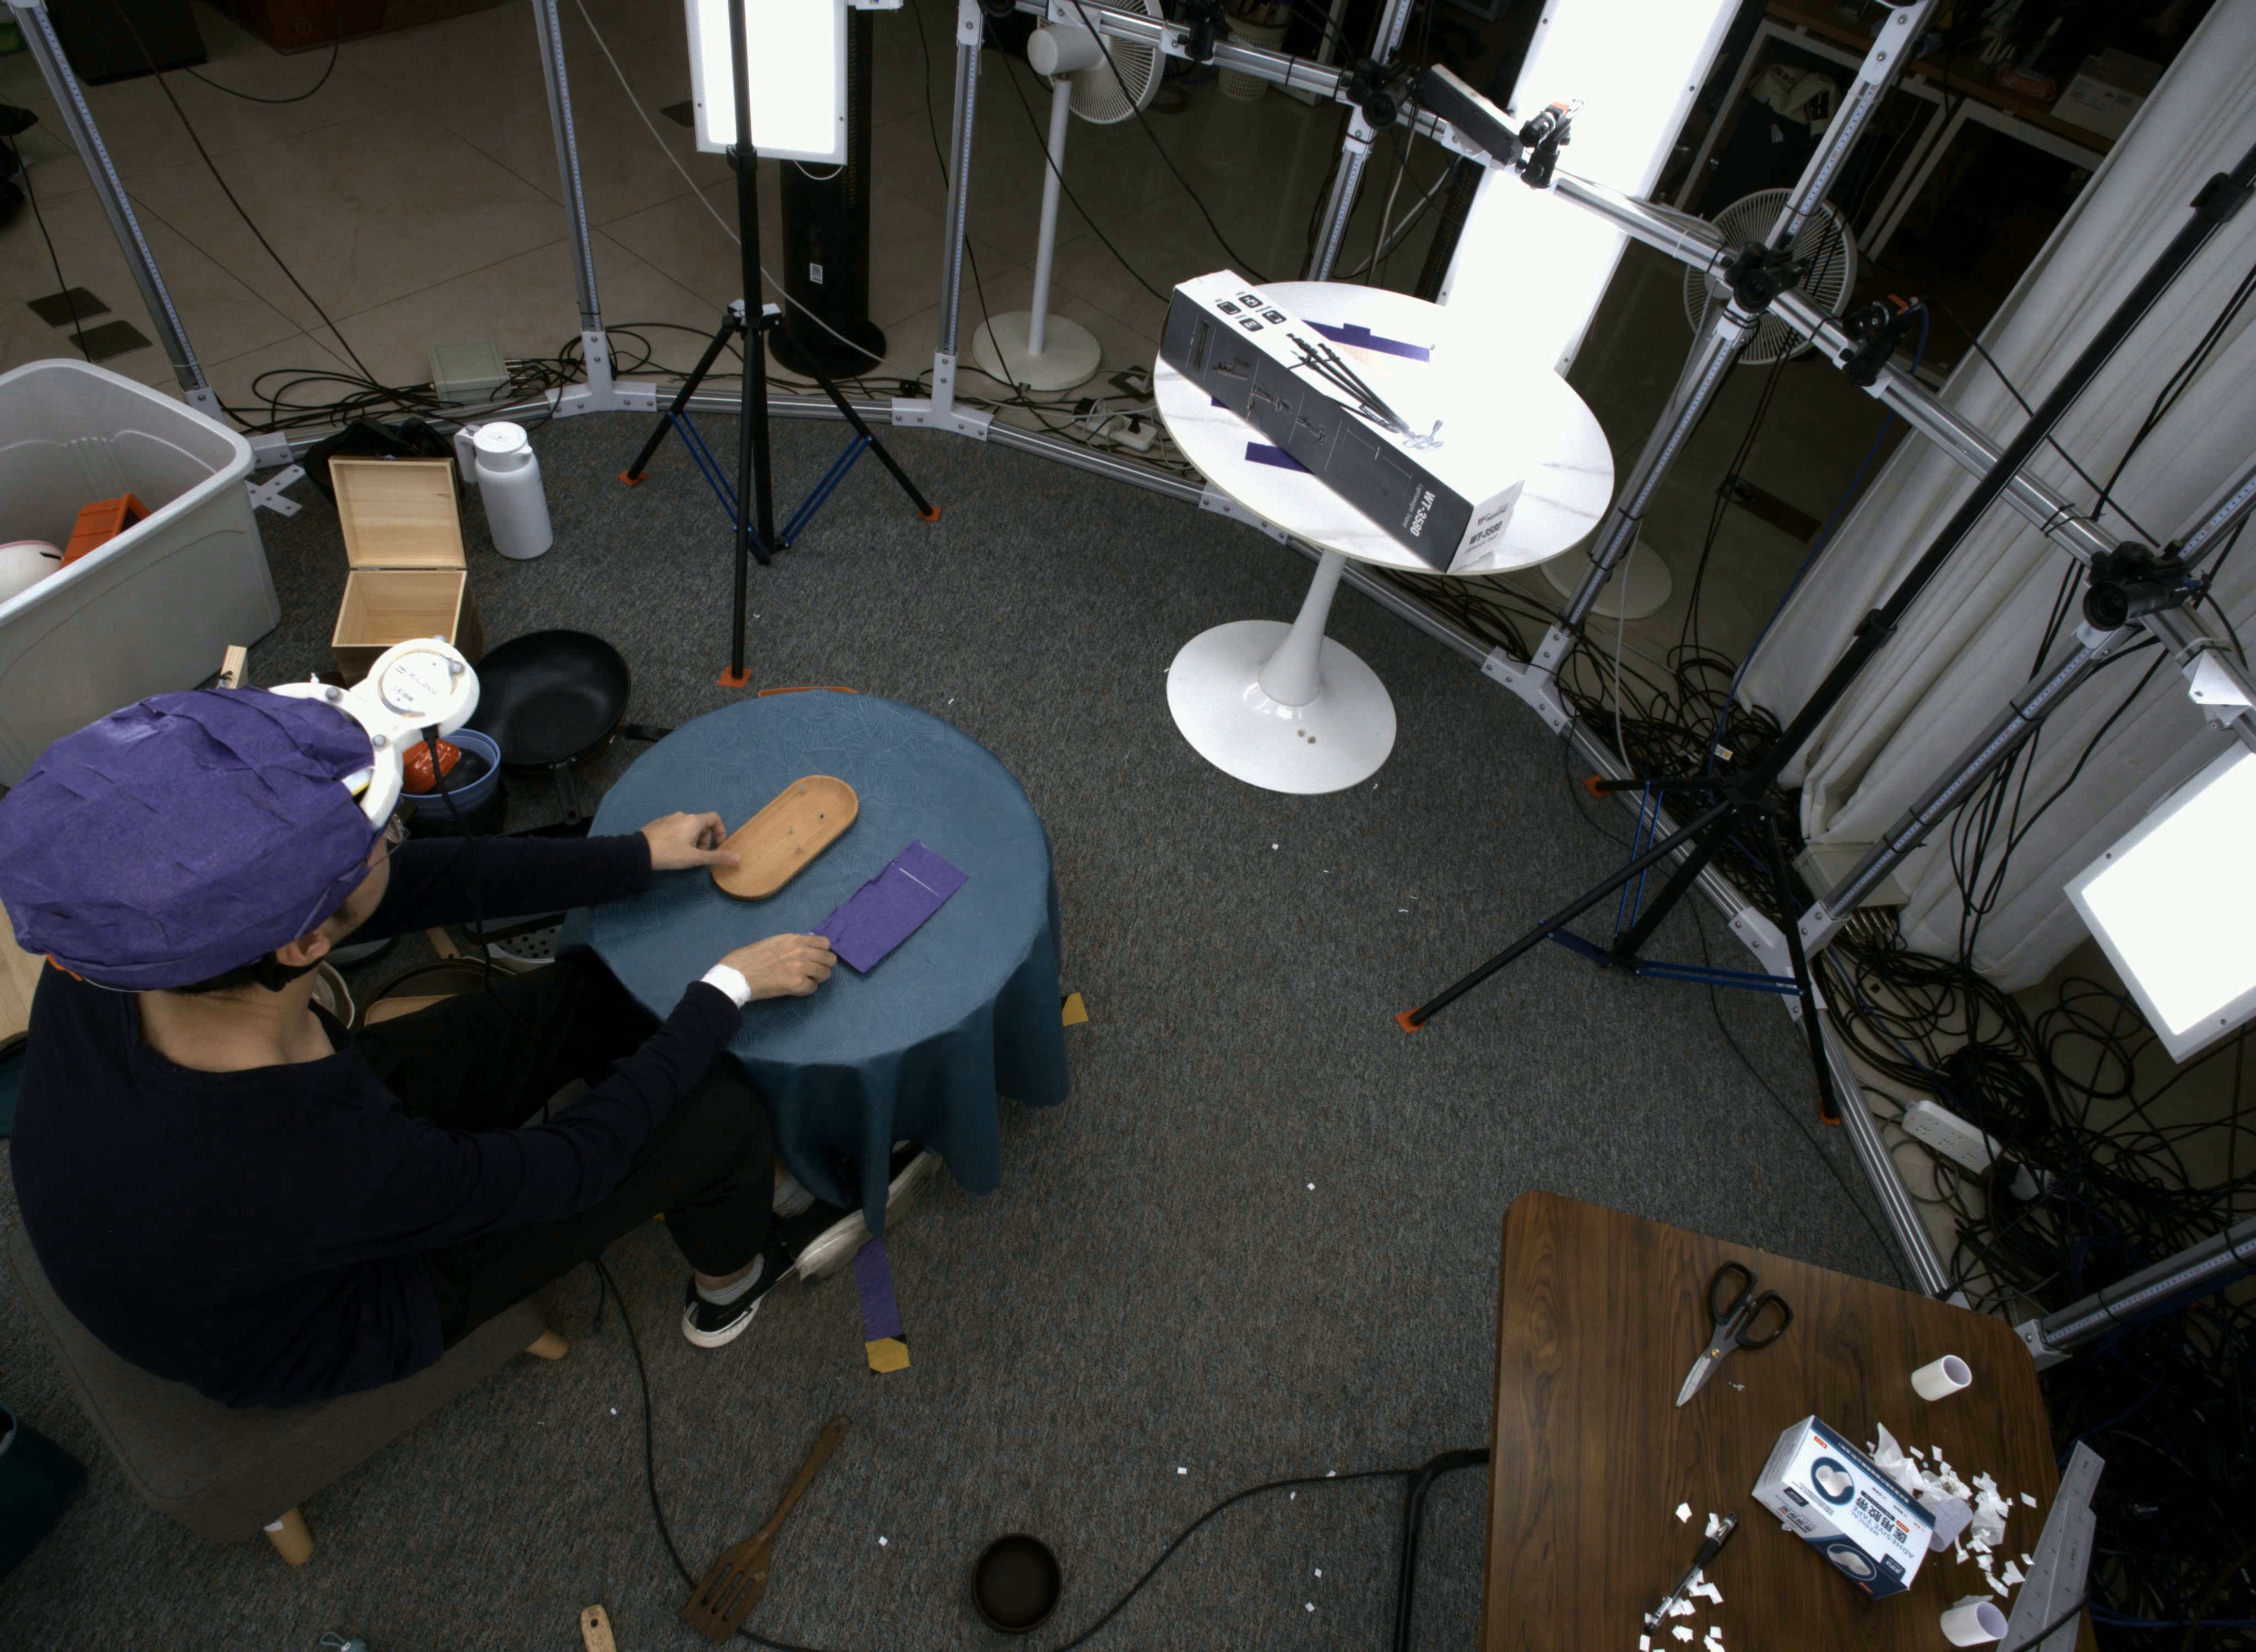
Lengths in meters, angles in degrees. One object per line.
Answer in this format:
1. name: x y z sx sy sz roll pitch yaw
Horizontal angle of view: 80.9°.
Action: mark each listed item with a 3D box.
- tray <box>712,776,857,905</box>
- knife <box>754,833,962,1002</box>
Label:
1. tray: -0.450 0.016 1.706 0.100 0.021 0.230 32 55 11
2. knife: -0.333 0.124 1.648 0.102 0.033 0.315 35 53 11
